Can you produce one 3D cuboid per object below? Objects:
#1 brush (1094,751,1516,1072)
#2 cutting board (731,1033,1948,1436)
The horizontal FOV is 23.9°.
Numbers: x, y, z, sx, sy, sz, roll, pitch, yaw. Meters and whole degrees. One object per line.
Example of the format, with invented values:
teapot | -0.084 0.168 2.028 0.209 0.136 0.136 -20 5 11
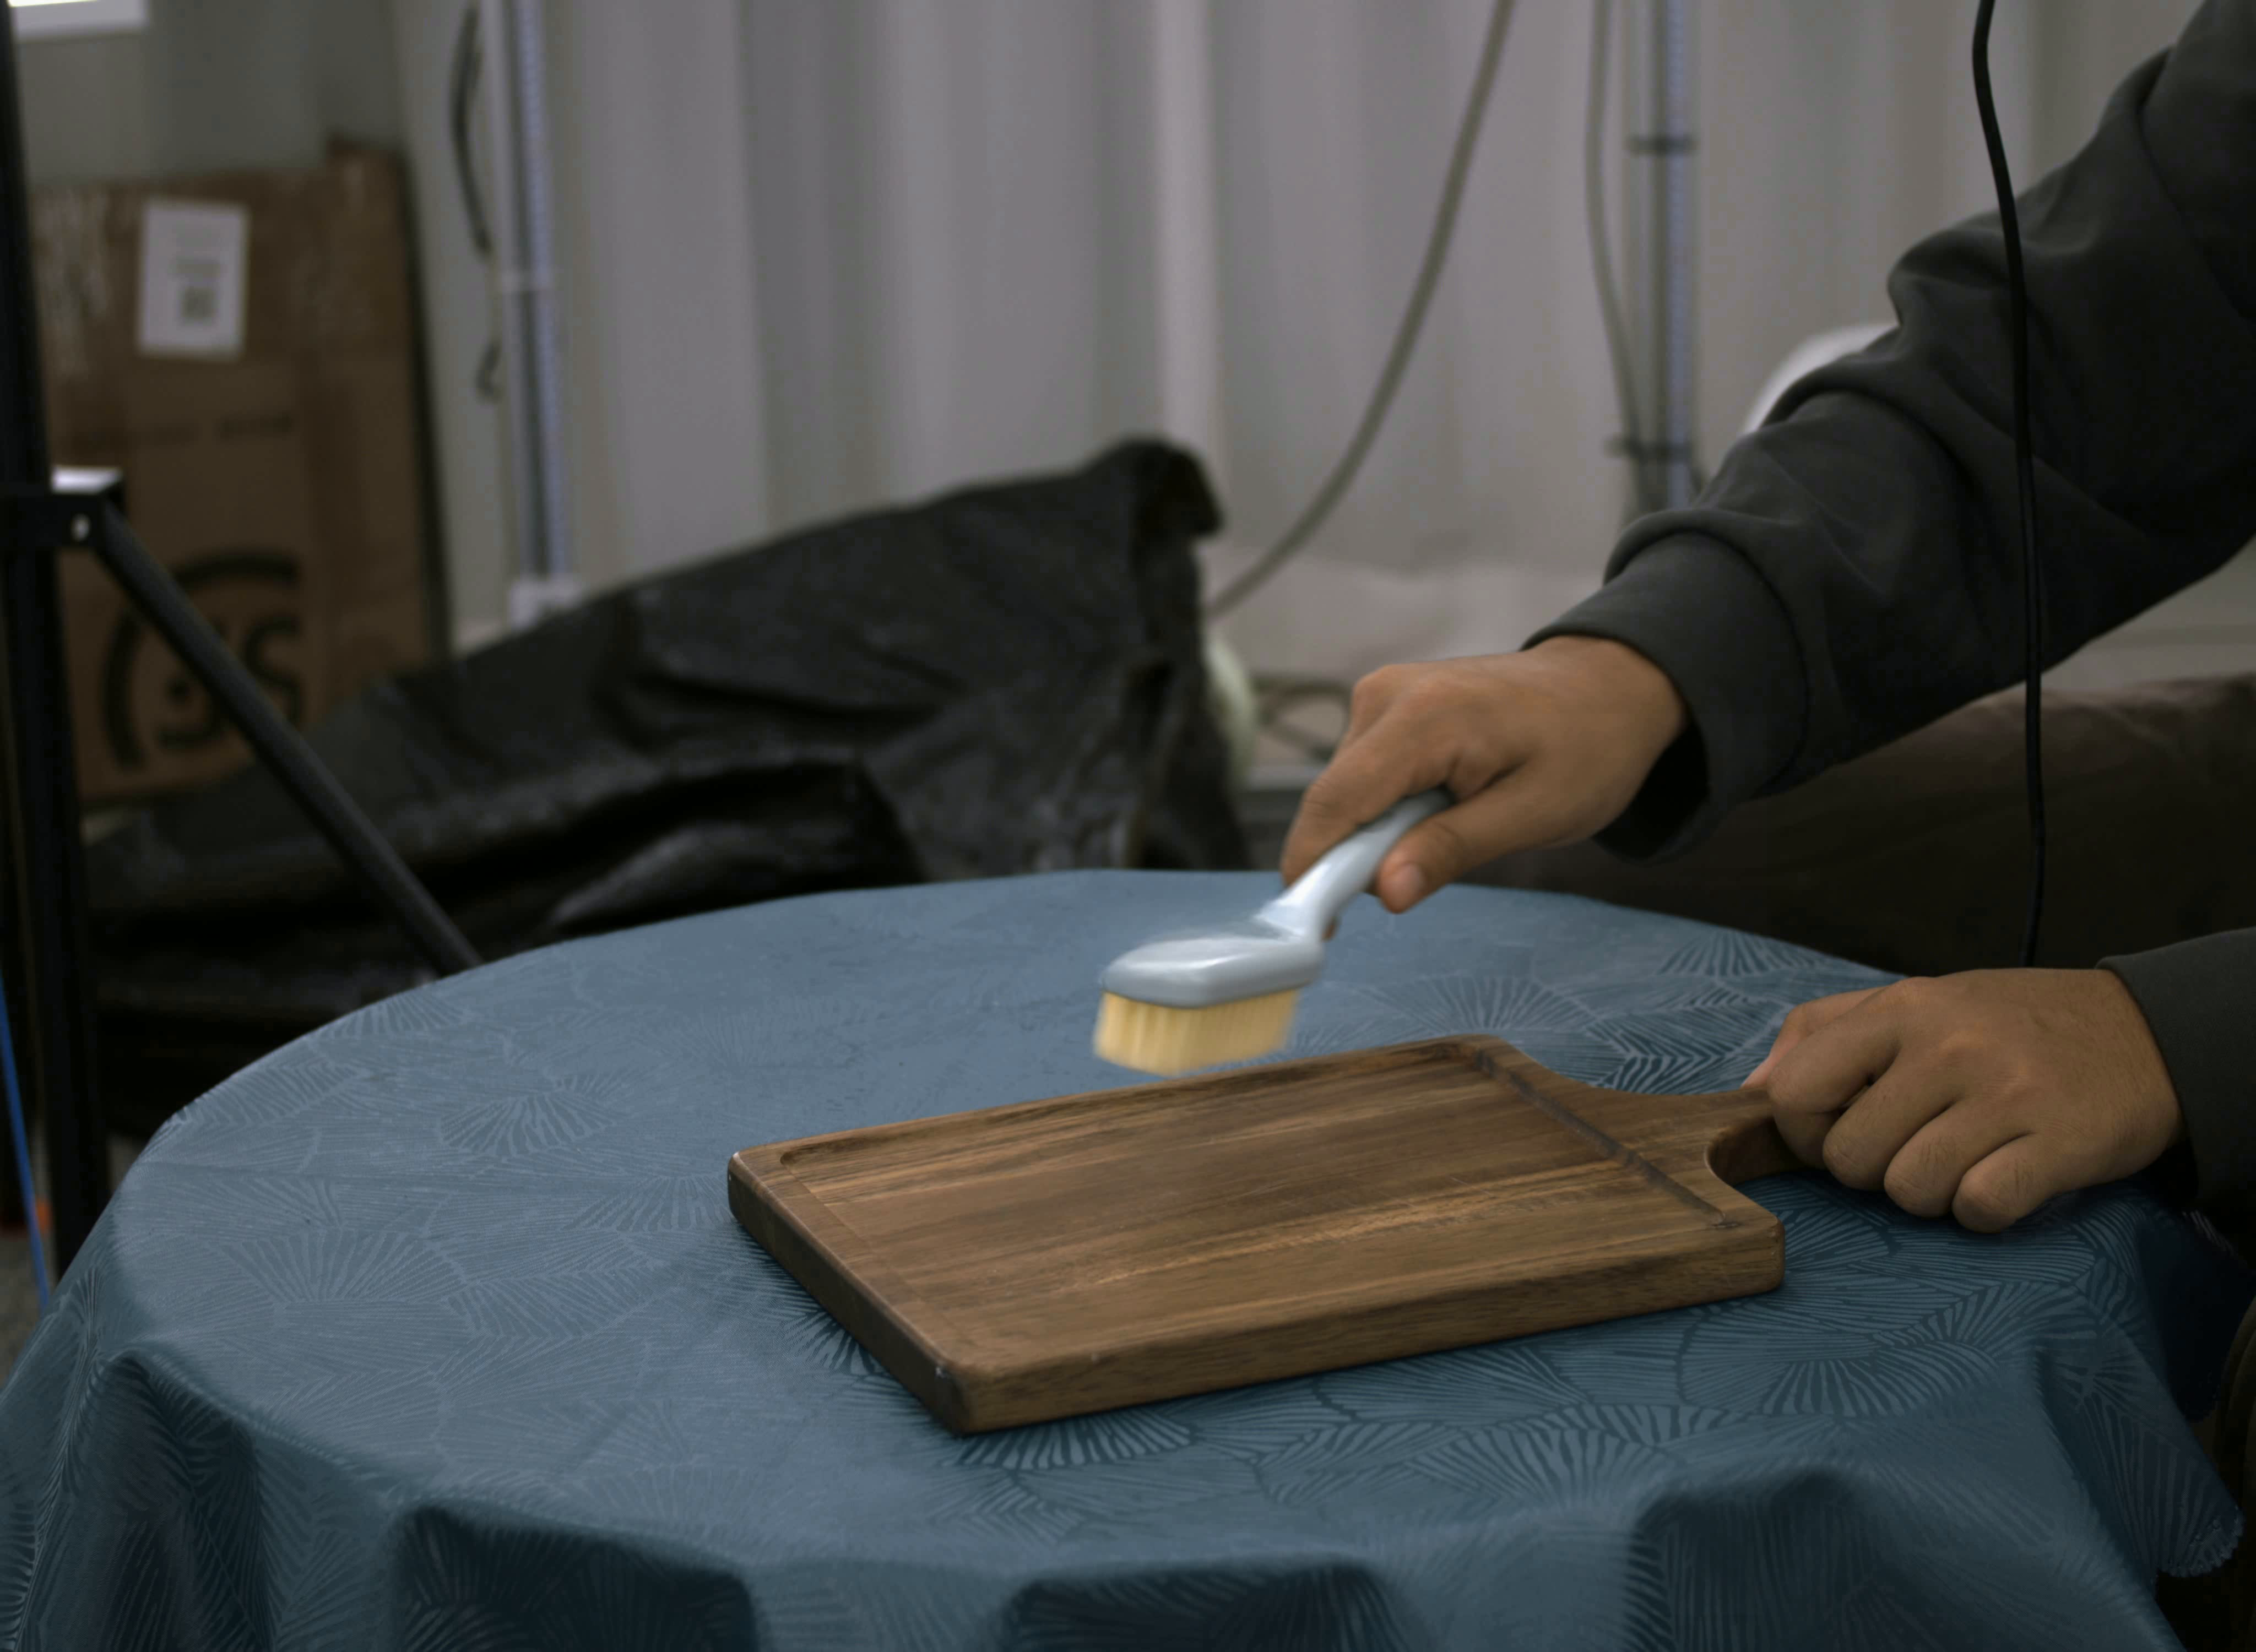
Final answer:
brush | 0.056 0.025 1.572 0.038 0.049 0.225 15 26 27
cutting board | 0.080 0.105 1.517 0.346 0.023 0.205 -8 17 -19
